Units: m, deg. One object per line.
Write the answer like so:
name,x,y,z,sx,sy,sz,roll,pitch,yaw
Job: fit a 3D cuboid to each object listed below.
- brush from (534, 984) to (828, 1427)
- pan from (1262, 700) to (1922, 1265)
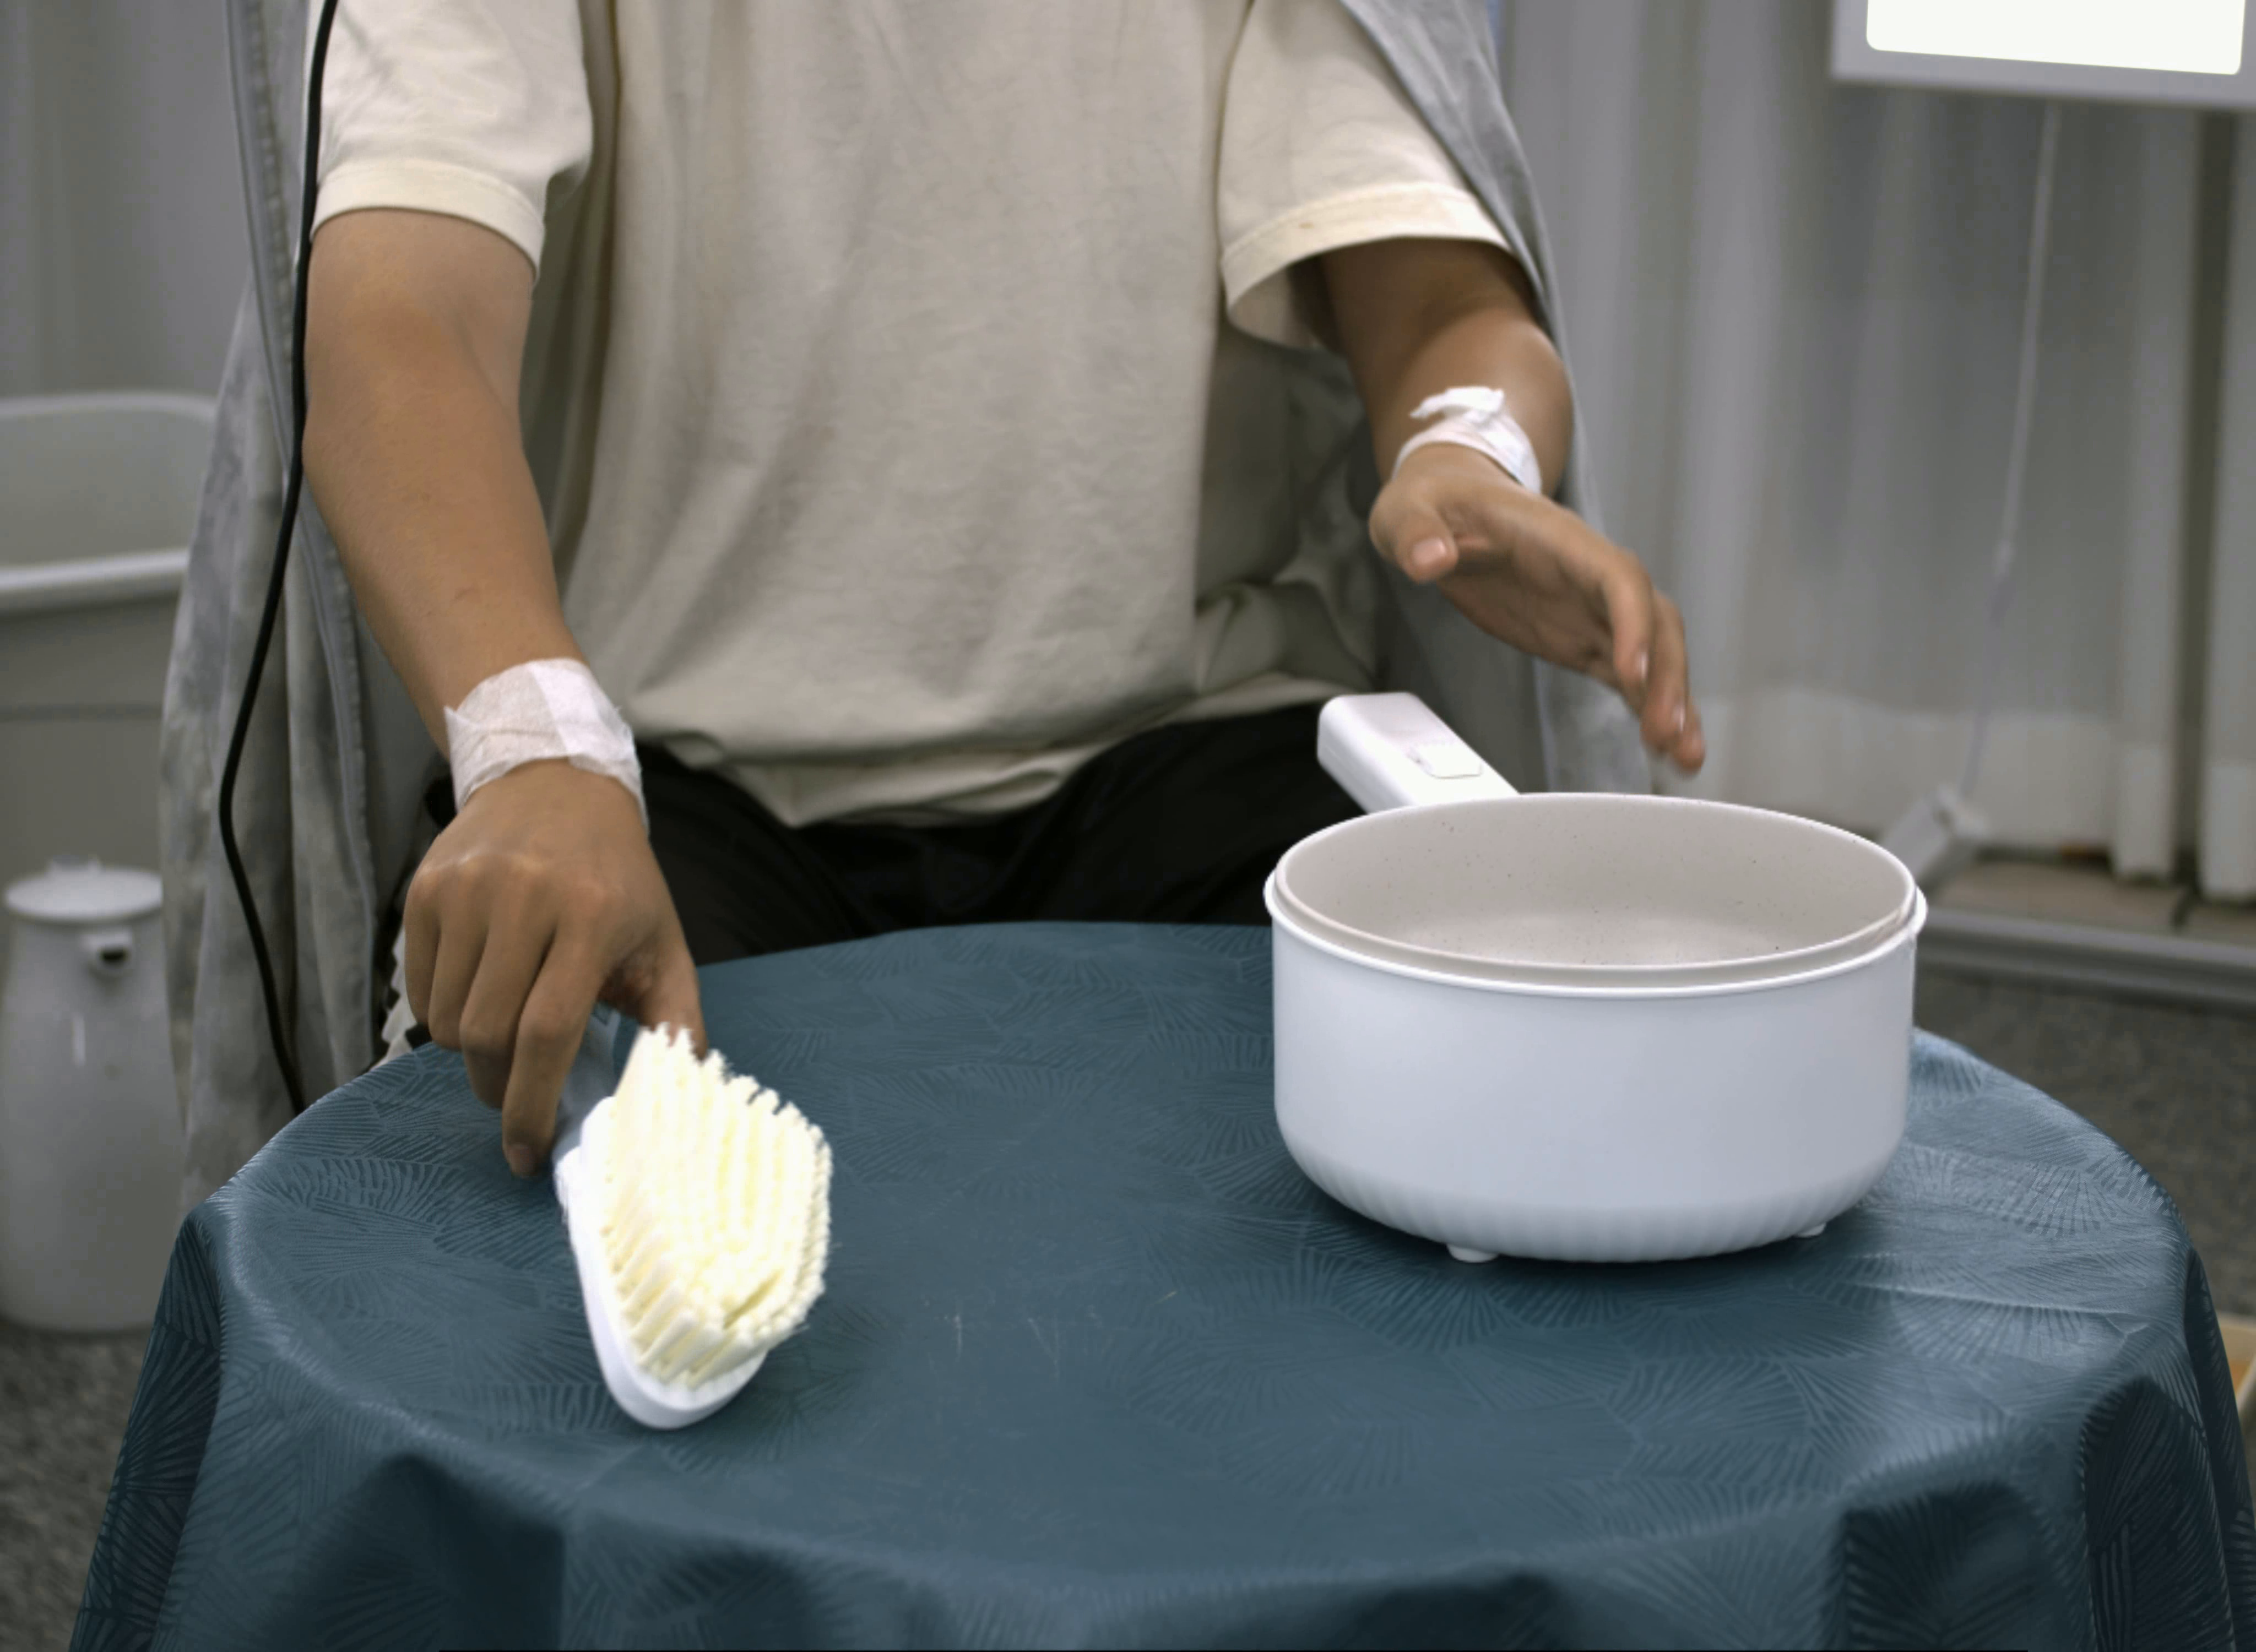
brush,-0.138,0.081,1.568,0.084,0.084,0.322,-16,19,-4
pan,0.124,0.046,1.689,0.201,0.103,0.351,-4,15,-13
